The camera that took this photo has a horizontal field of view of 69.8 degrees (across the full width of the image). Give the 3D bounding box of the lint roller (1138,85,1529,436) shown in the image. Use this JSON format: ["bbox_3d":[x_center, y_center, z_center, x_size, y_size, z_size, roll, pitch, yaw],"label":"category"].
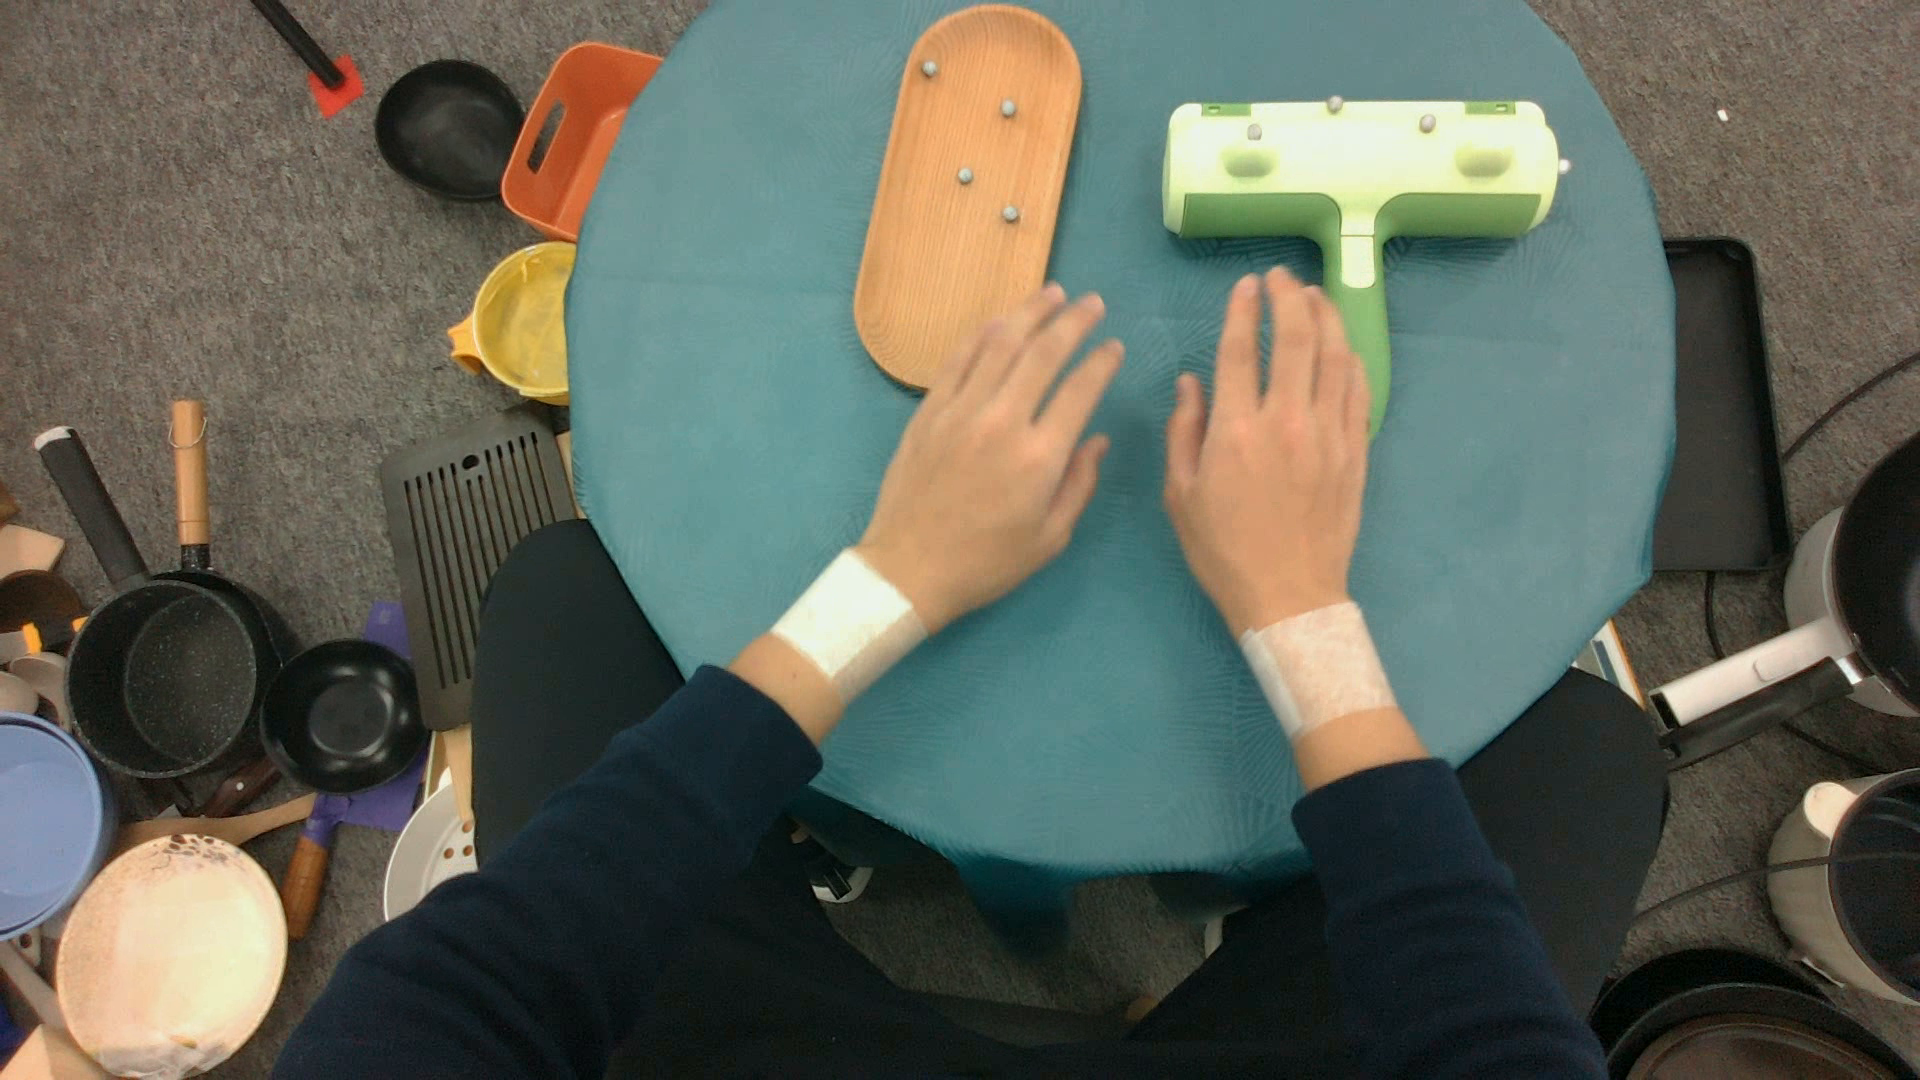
[{"bbox_3d":[0.194,-0.150,0.704,0.198,0.082,0.184,-1,71,3],"label":"lint roller"}]

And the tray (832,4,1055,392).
[{"bbox_3d":[-0.008,-0.191,0.759,0.101,0.020,0.231,8,78,5],"label":"tray"}]
